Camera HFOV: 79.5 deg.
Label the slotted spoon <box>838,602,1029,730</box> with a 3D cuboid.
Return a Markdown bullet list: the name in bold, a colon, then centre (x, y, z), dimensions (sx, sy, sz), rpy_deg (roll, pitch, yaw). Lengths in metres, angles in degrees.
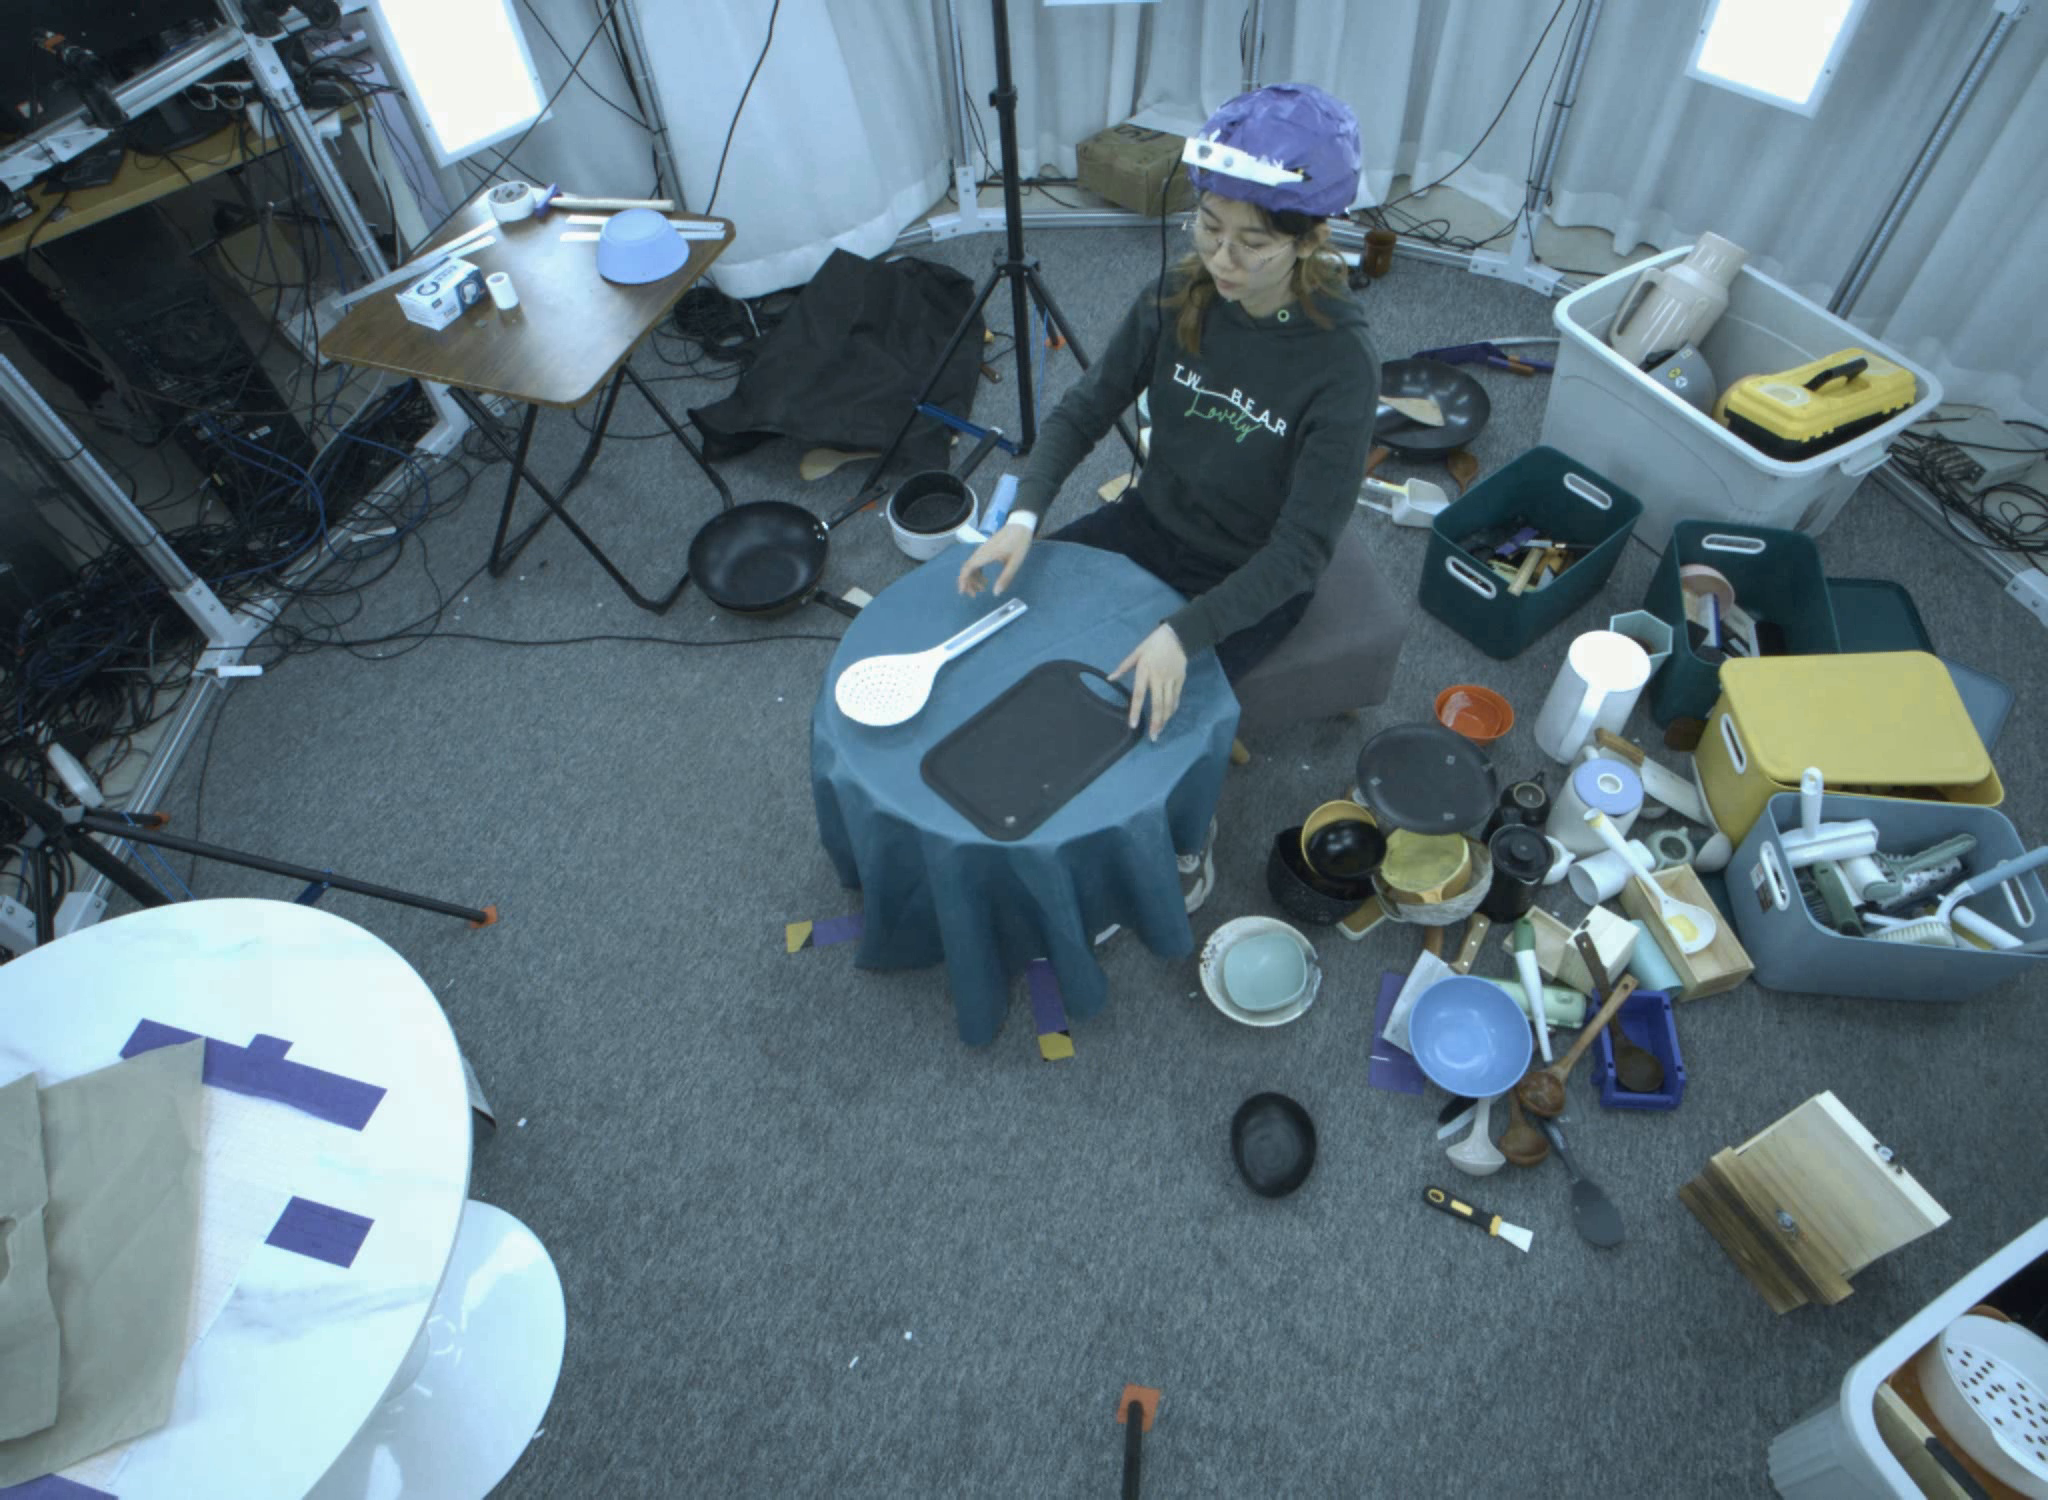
- **slotted spoon**: centre (-0.129, -0.136, 1.869), dimensions (0.352, 0.046, 0.134), rpy_deg (-38, 64, -23)

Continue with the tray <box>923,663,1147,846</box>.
- **tray**: centre (0.023, -0.007, 1.798), dimensions (0.328, 0.010, 0.207), rpy_deg (-39, 63, -23)
